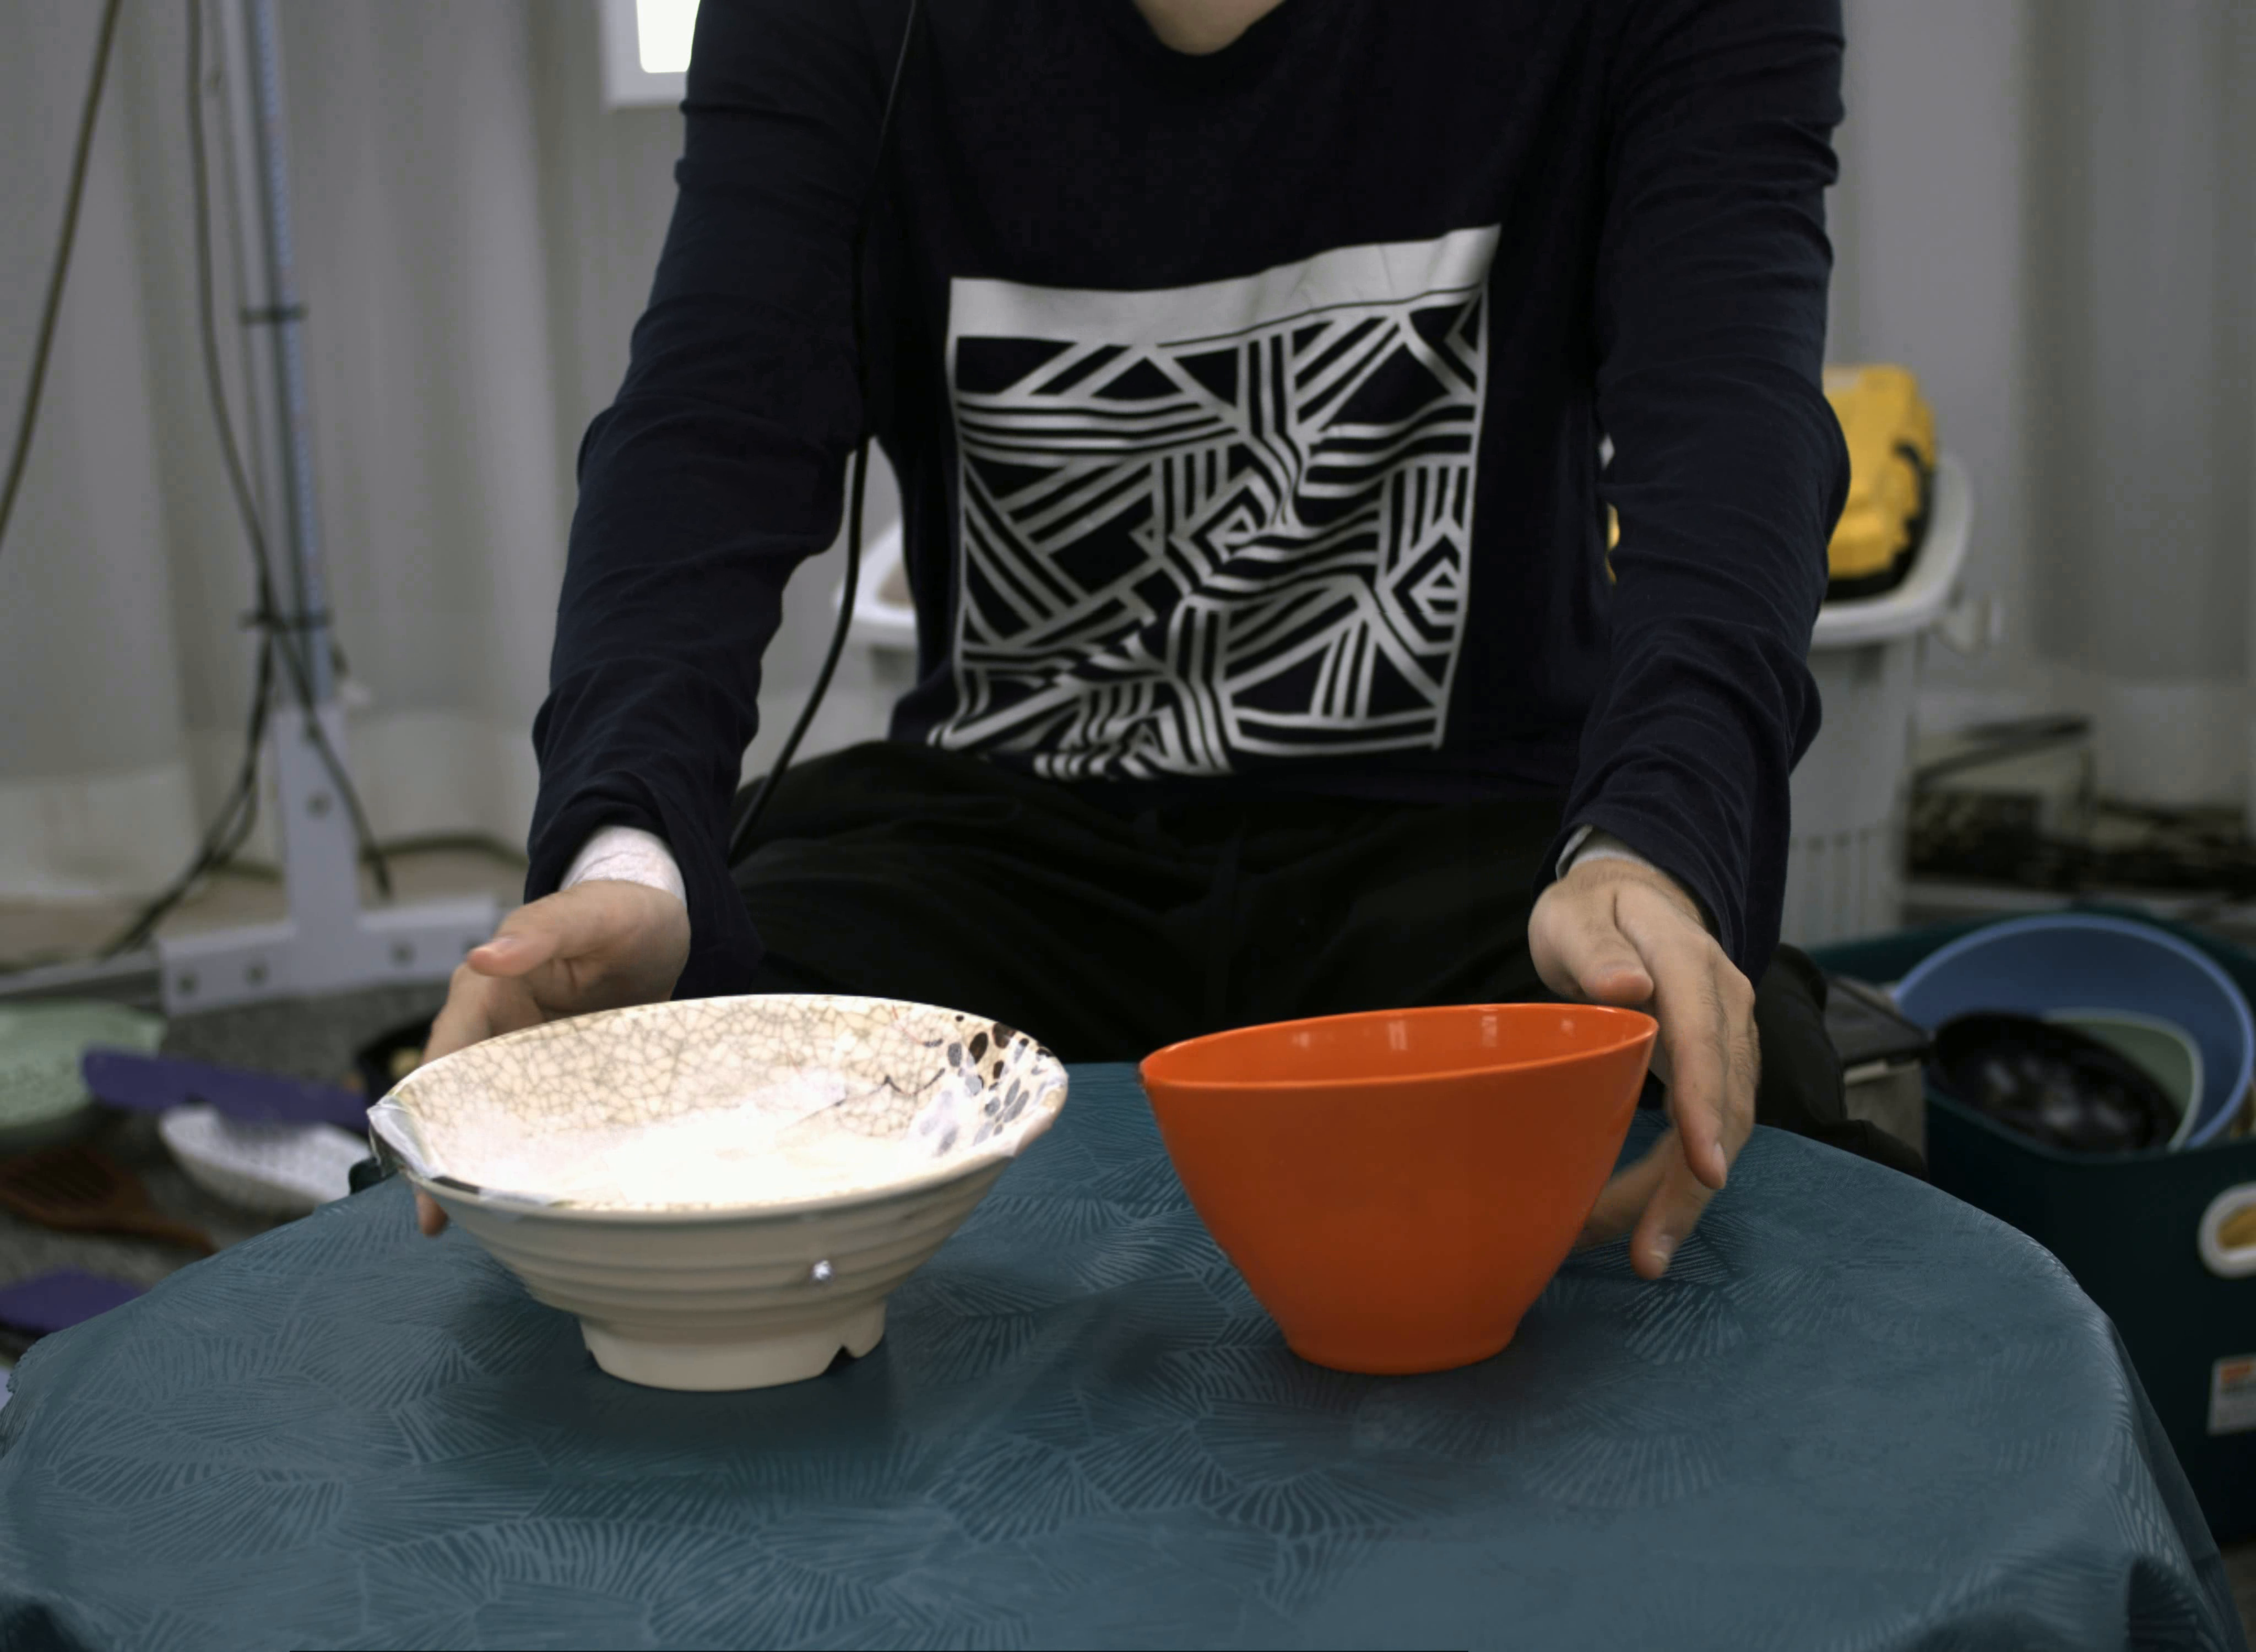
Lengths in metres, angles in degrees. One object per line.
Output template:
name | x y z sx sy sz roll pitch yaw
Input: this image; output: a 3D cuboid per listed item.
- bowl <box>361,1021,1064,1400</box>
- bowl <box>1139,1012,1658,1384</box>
bowl | -0.120 0.118 1.592 0.203 0.078 0.205 -1 11 0
bowl | 0.078 0.103 1.556 0.147 0.104 0.149 -3 12 0
